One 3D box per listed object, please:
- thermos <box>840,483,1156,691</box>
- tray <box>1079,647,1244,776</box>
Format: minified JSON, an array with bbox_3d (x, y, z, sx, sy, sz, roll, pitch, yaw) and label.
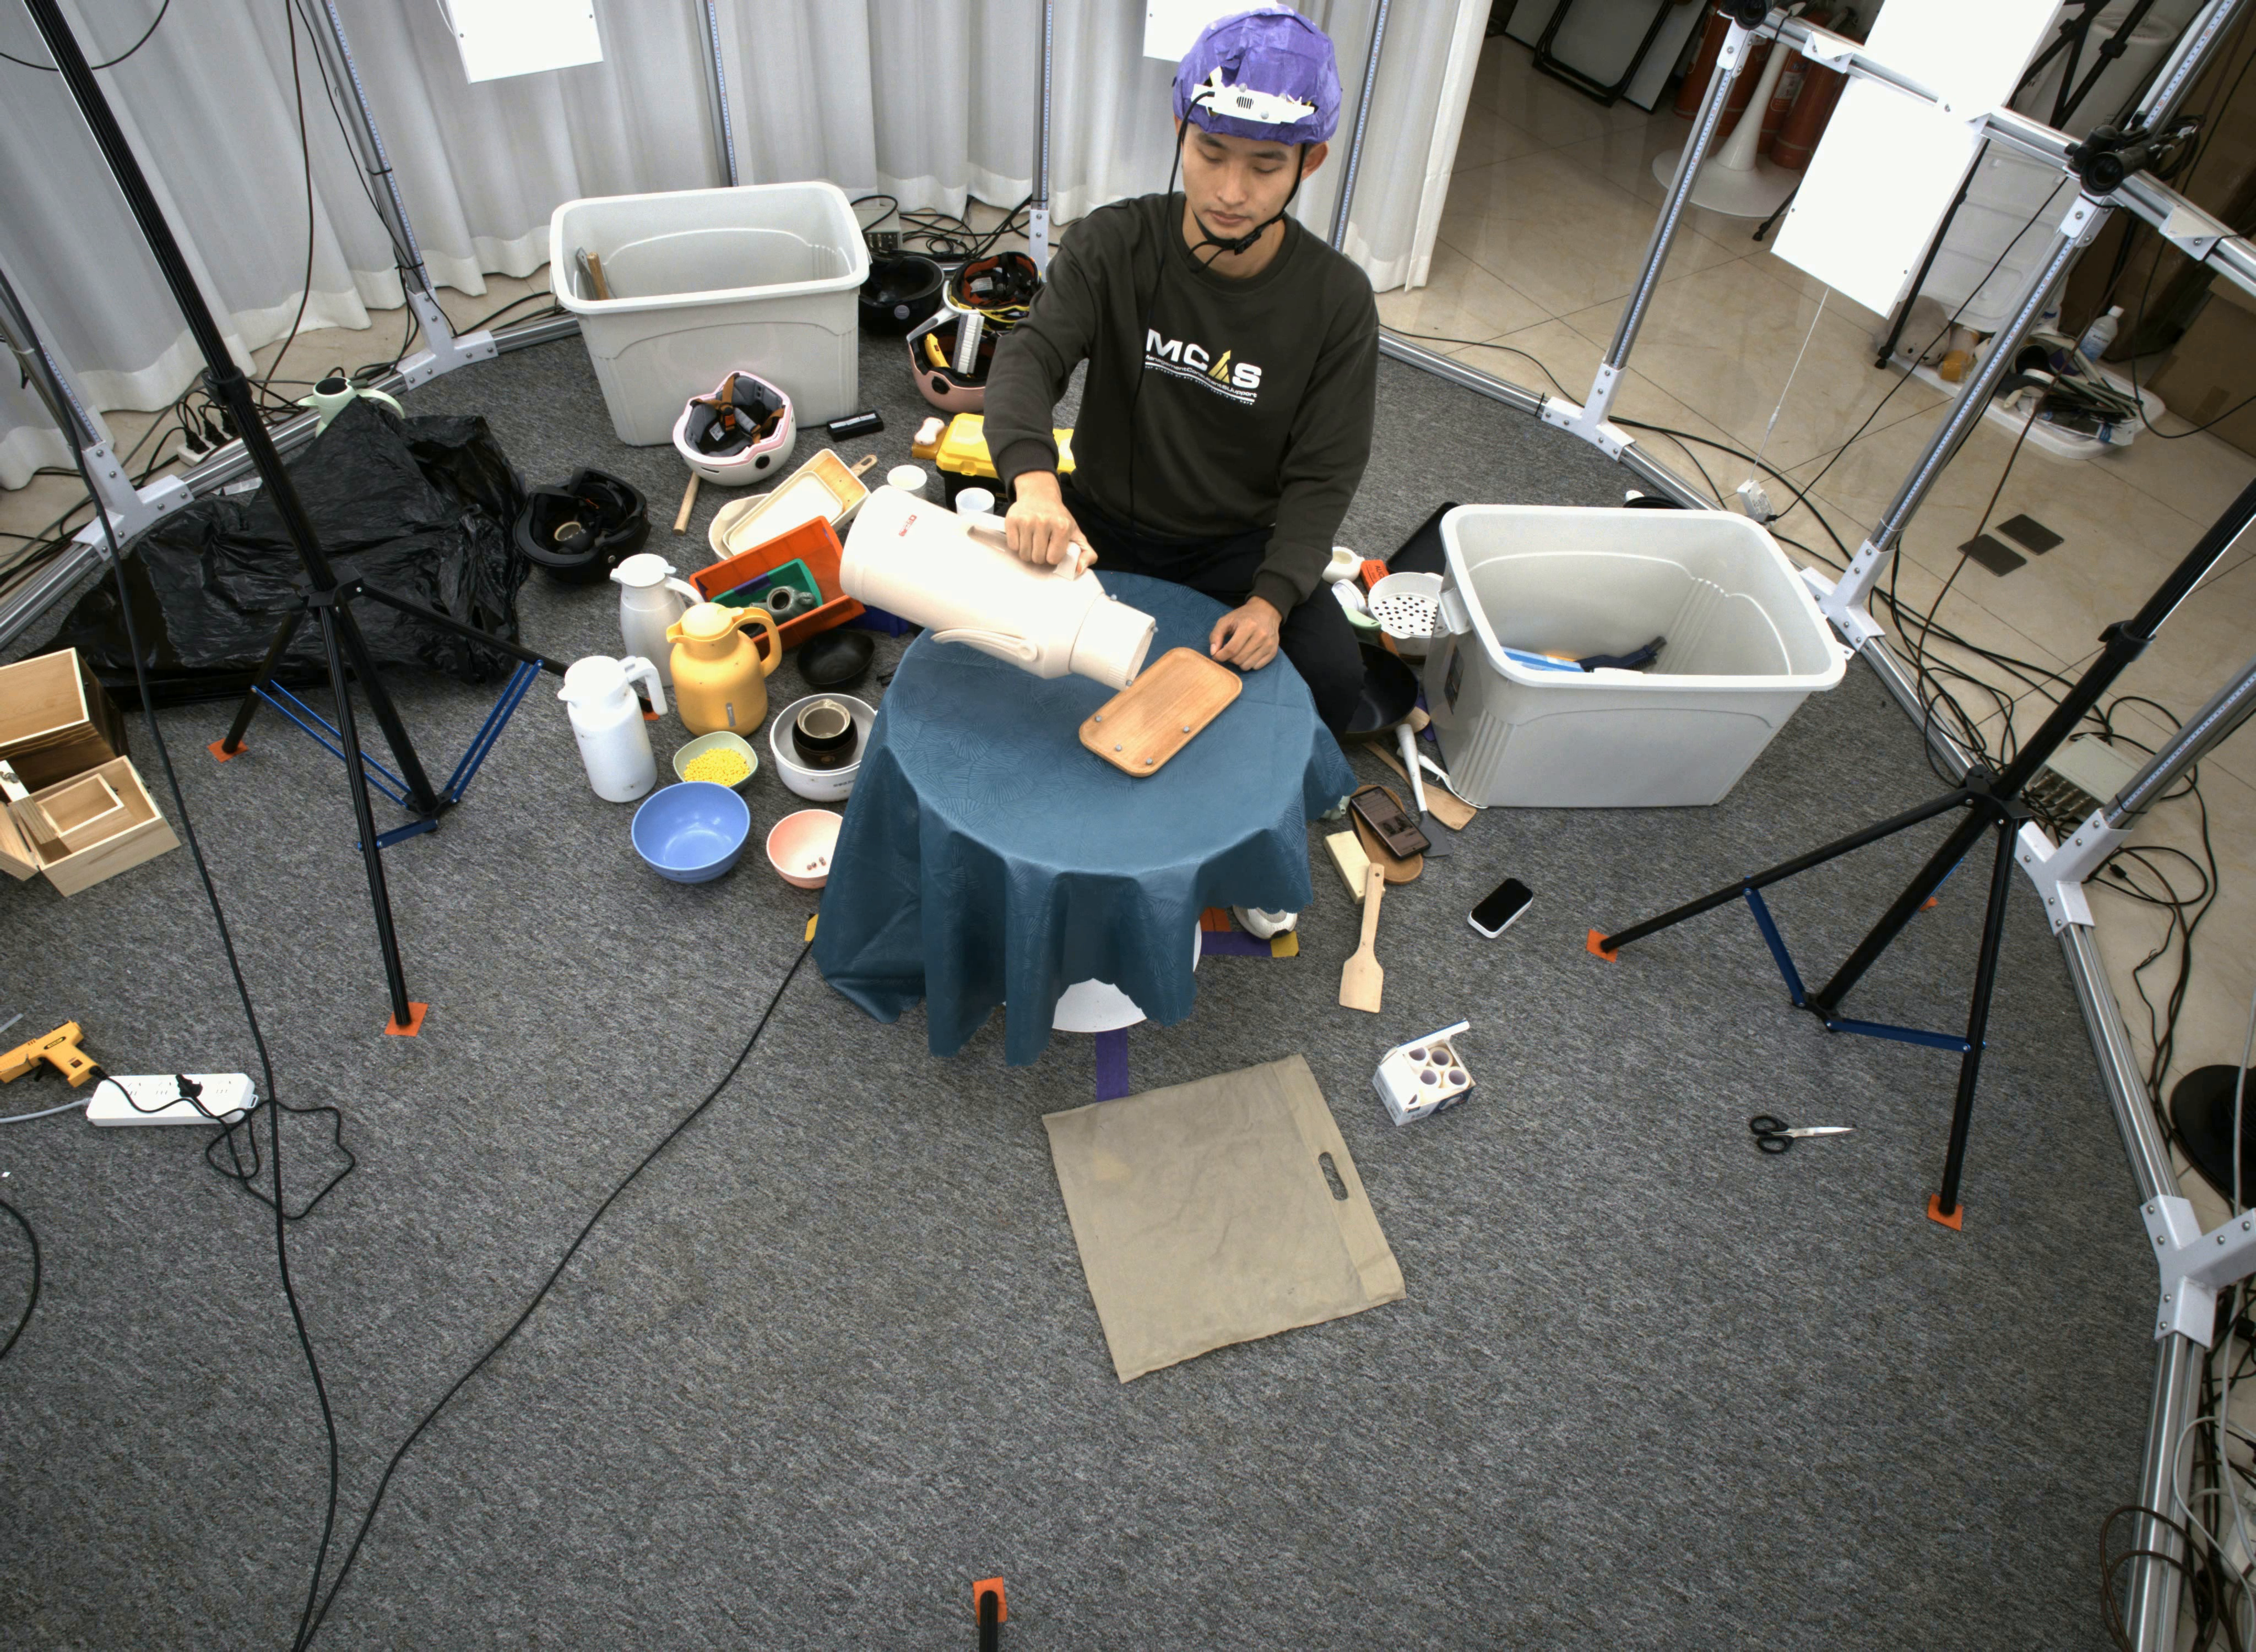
[{"bbox_3d":[-0.163,-0.315,1.696,0.408,0.202,0.178,25,45,8],"label":"thermos"},{"bbox_3d":[0.049,-0.163,1.799,0.132,0.022,0.253,35,54,21],"label":"tray"}]
